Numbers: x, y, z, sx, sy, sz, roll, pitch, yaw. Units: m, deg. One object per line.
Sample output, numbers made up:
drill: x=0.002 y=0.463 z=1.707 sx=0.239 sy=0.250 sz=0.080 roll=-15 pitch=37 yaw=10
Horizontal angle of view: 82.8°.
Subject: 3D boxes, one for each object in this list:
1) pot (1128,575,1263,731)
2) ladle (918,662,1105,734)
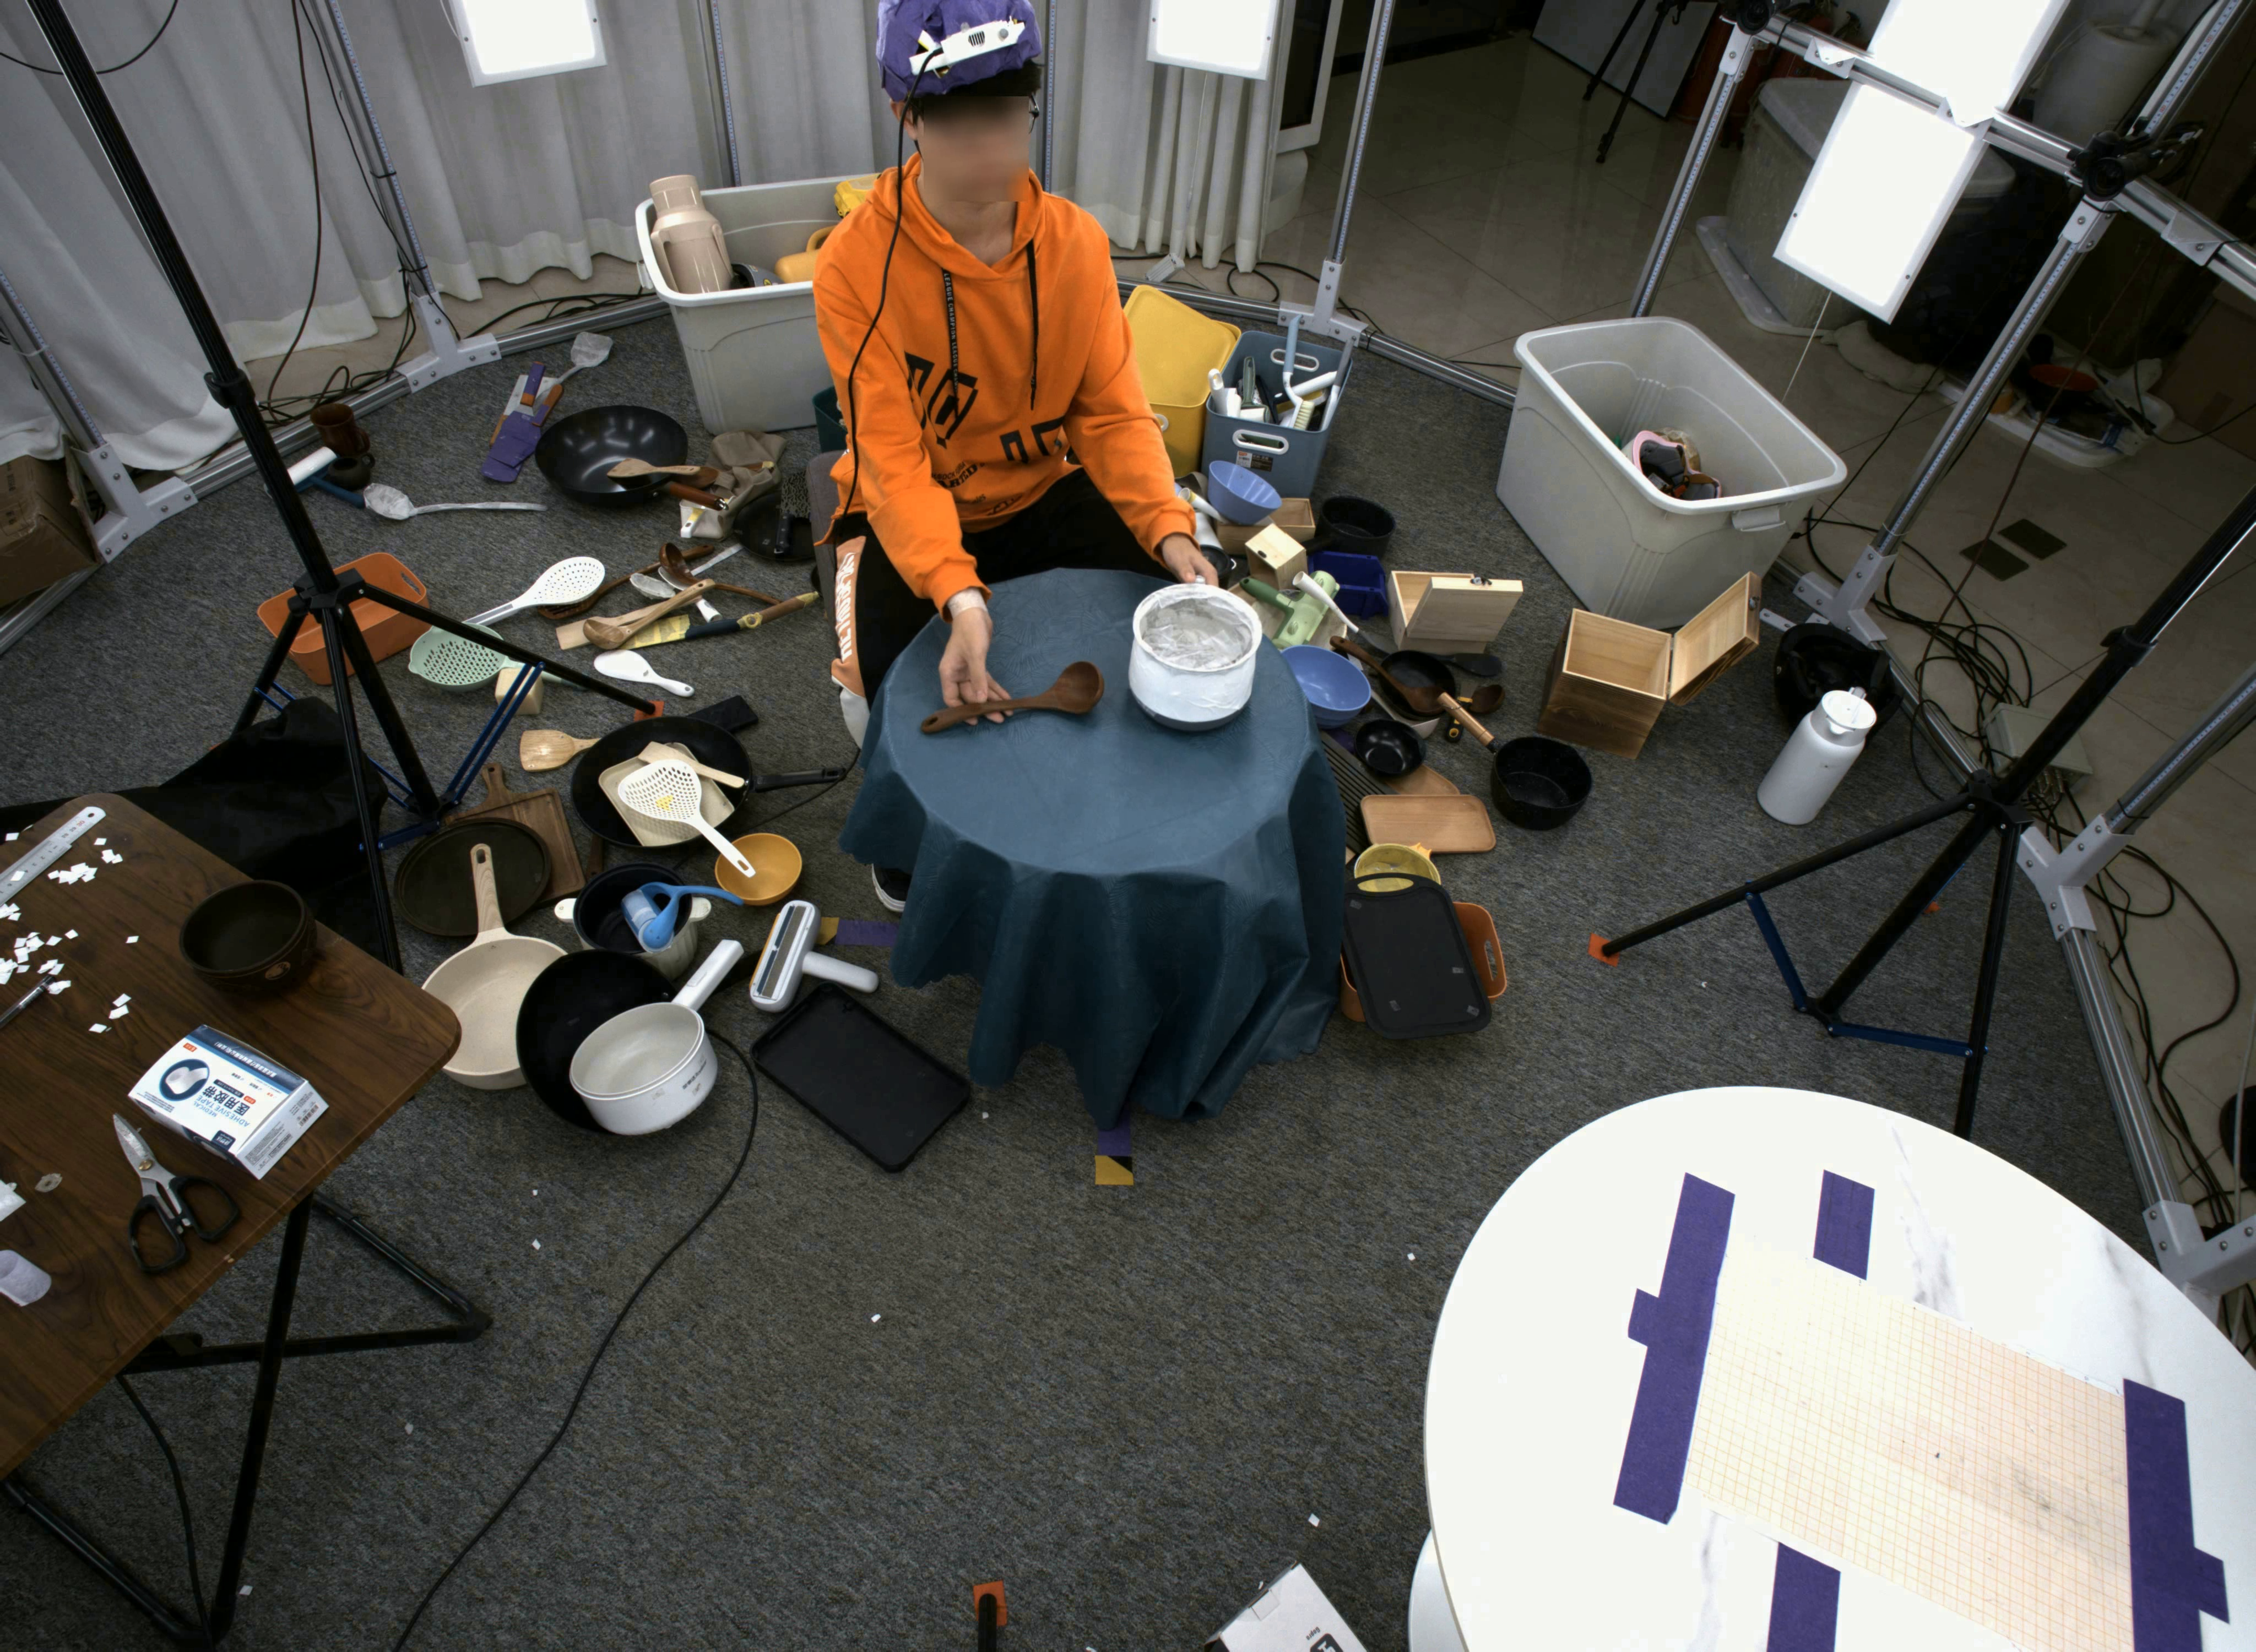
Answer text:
pot: x=0.091 y=-0.253 z=1.805 sx=0.178 sy=0.133 sz=0.239 roll=3 pitch=49 yaw=-2
ladle: x=-0.159 y=-0.173 z=1.767 sx=0.260 sy=0.063 sz=0.078 roll=-11 pitch=57 yaw=-14
